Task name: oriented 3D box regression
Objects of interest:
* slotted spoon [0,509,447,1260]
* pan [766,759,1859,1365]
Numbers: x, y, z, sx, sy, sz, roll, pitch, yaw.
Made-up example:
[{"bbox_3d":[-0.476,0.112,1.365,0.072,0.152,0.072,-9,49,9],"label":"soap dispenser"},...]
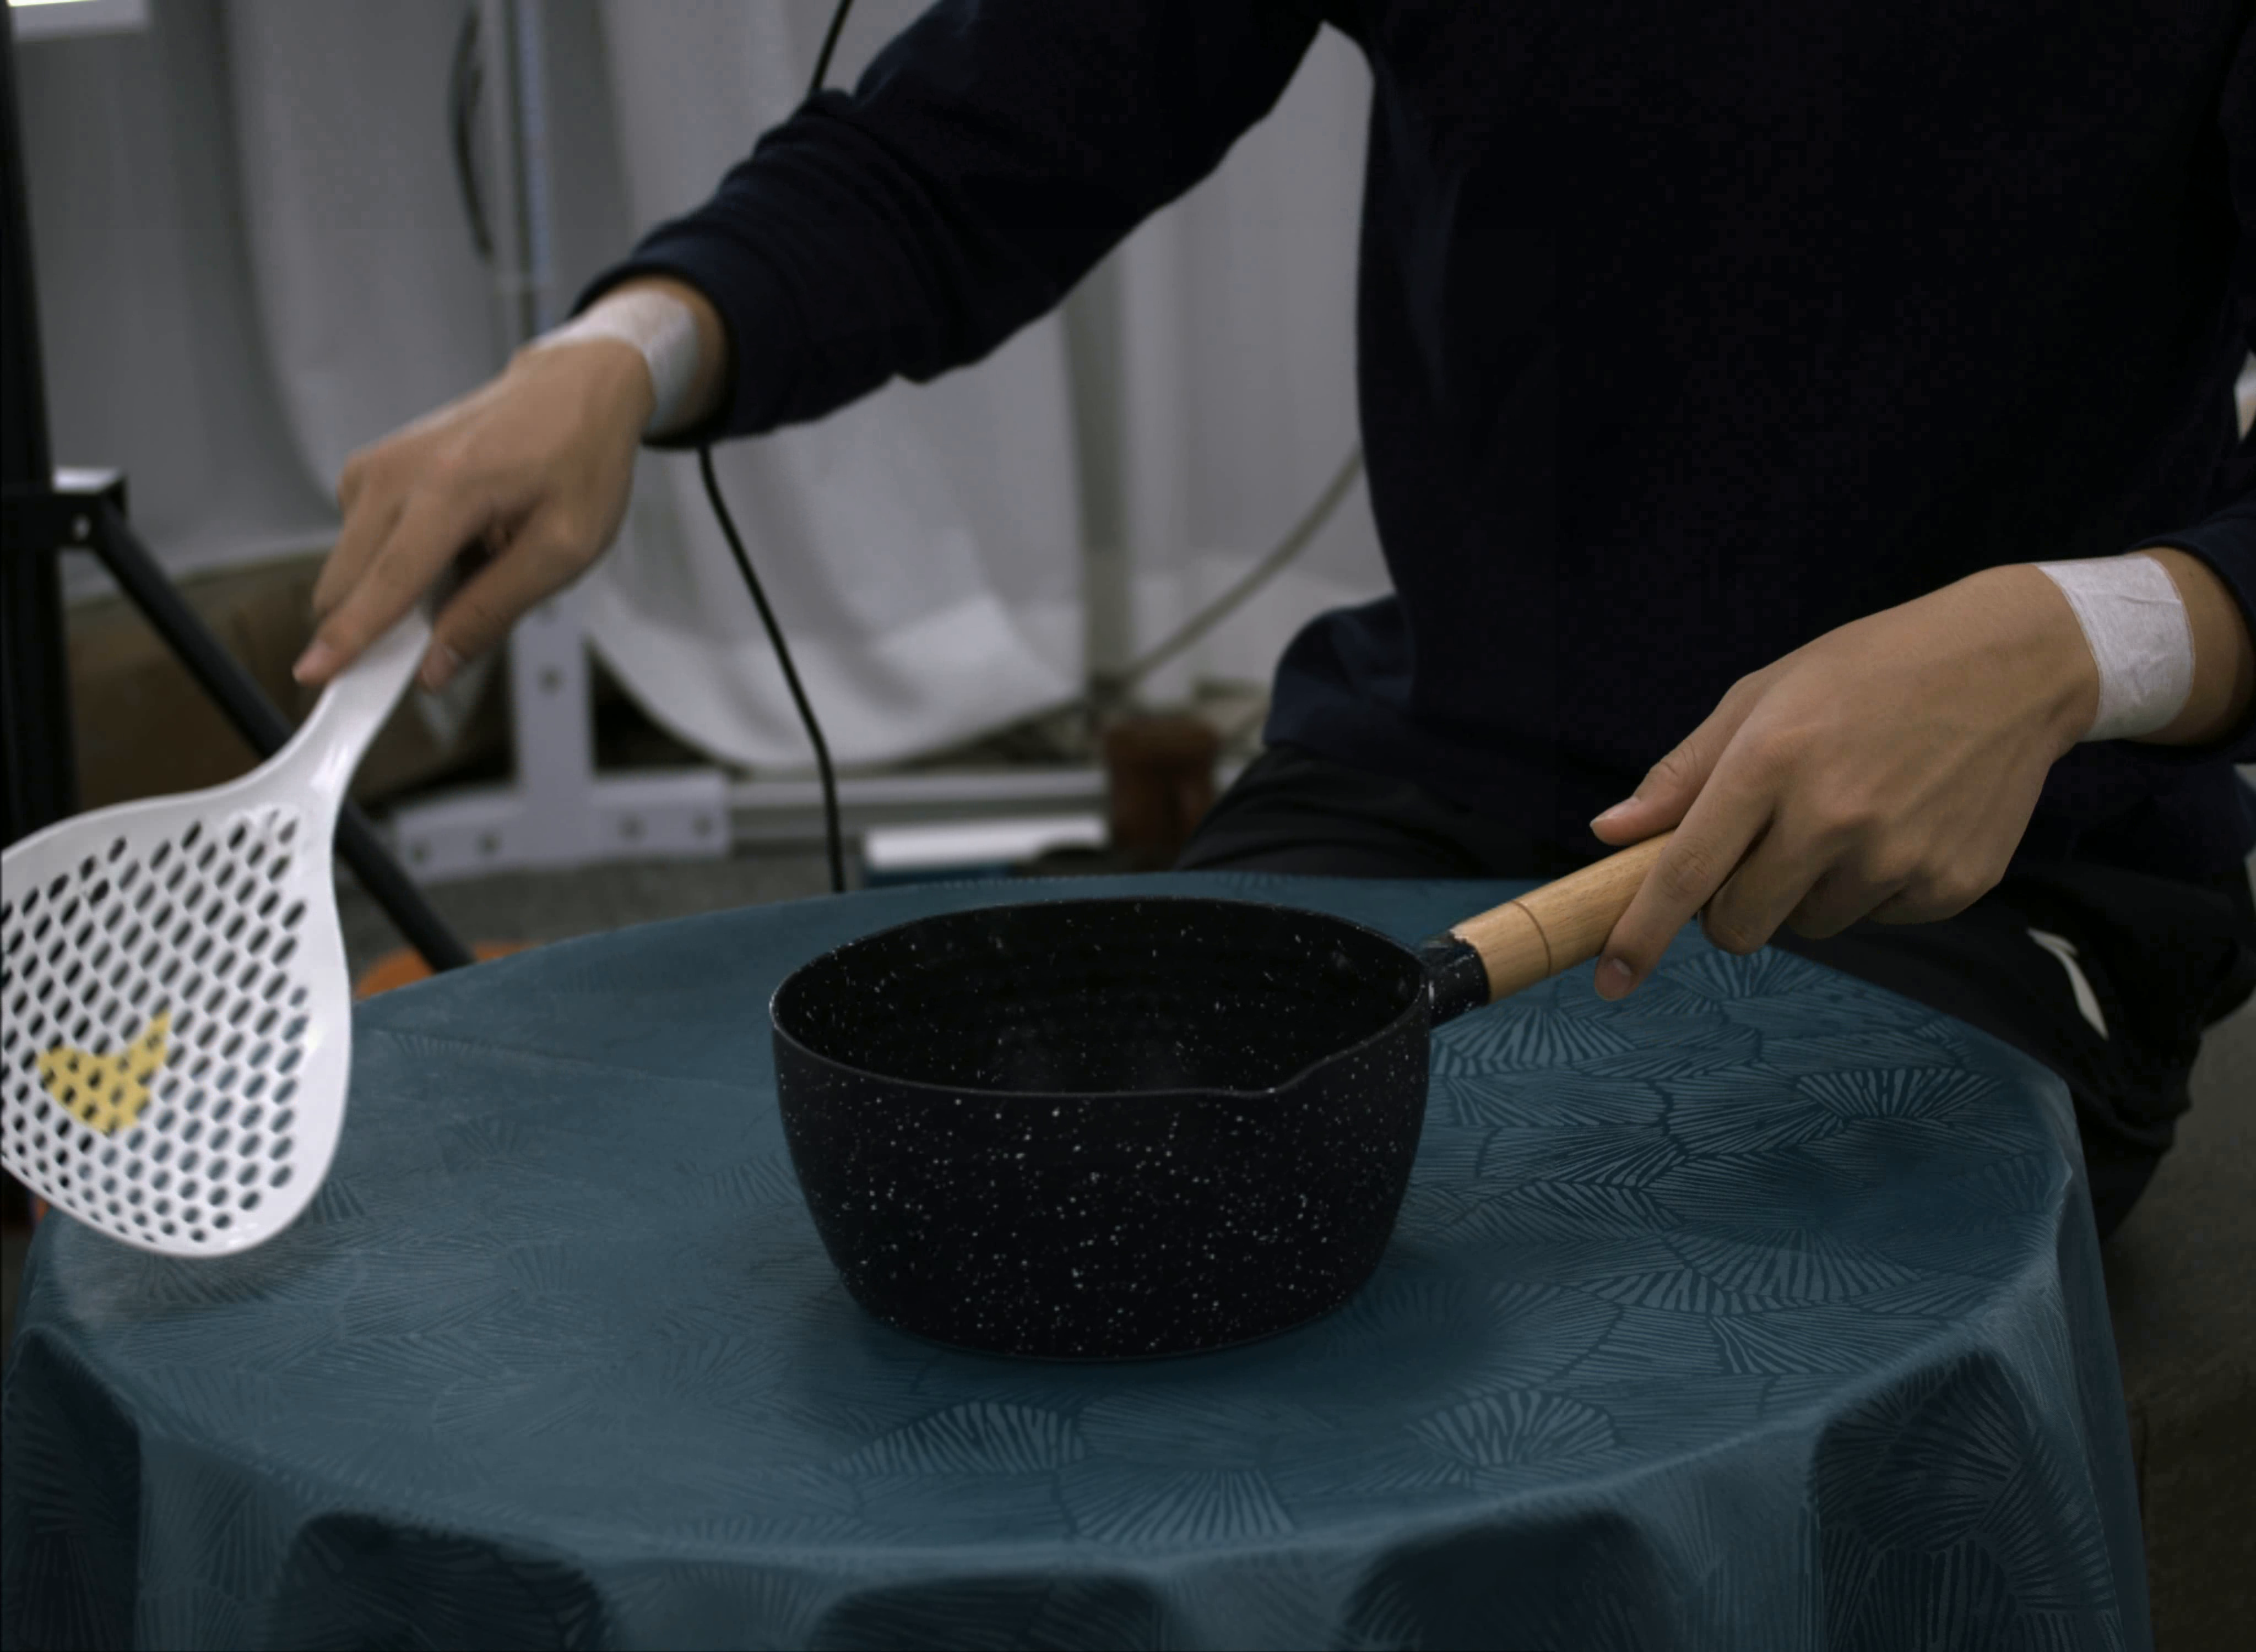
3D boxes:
[{"bbox_3d":[-0.259,0.003,1.619,0.135,0.051,0.347,34,44,-9],"label":"slotted spoon"},{"bbox_3d":[0.063,0.061,1.514,0.336,0.108,0.212,-12,17,-25],"label":"pan"}]
